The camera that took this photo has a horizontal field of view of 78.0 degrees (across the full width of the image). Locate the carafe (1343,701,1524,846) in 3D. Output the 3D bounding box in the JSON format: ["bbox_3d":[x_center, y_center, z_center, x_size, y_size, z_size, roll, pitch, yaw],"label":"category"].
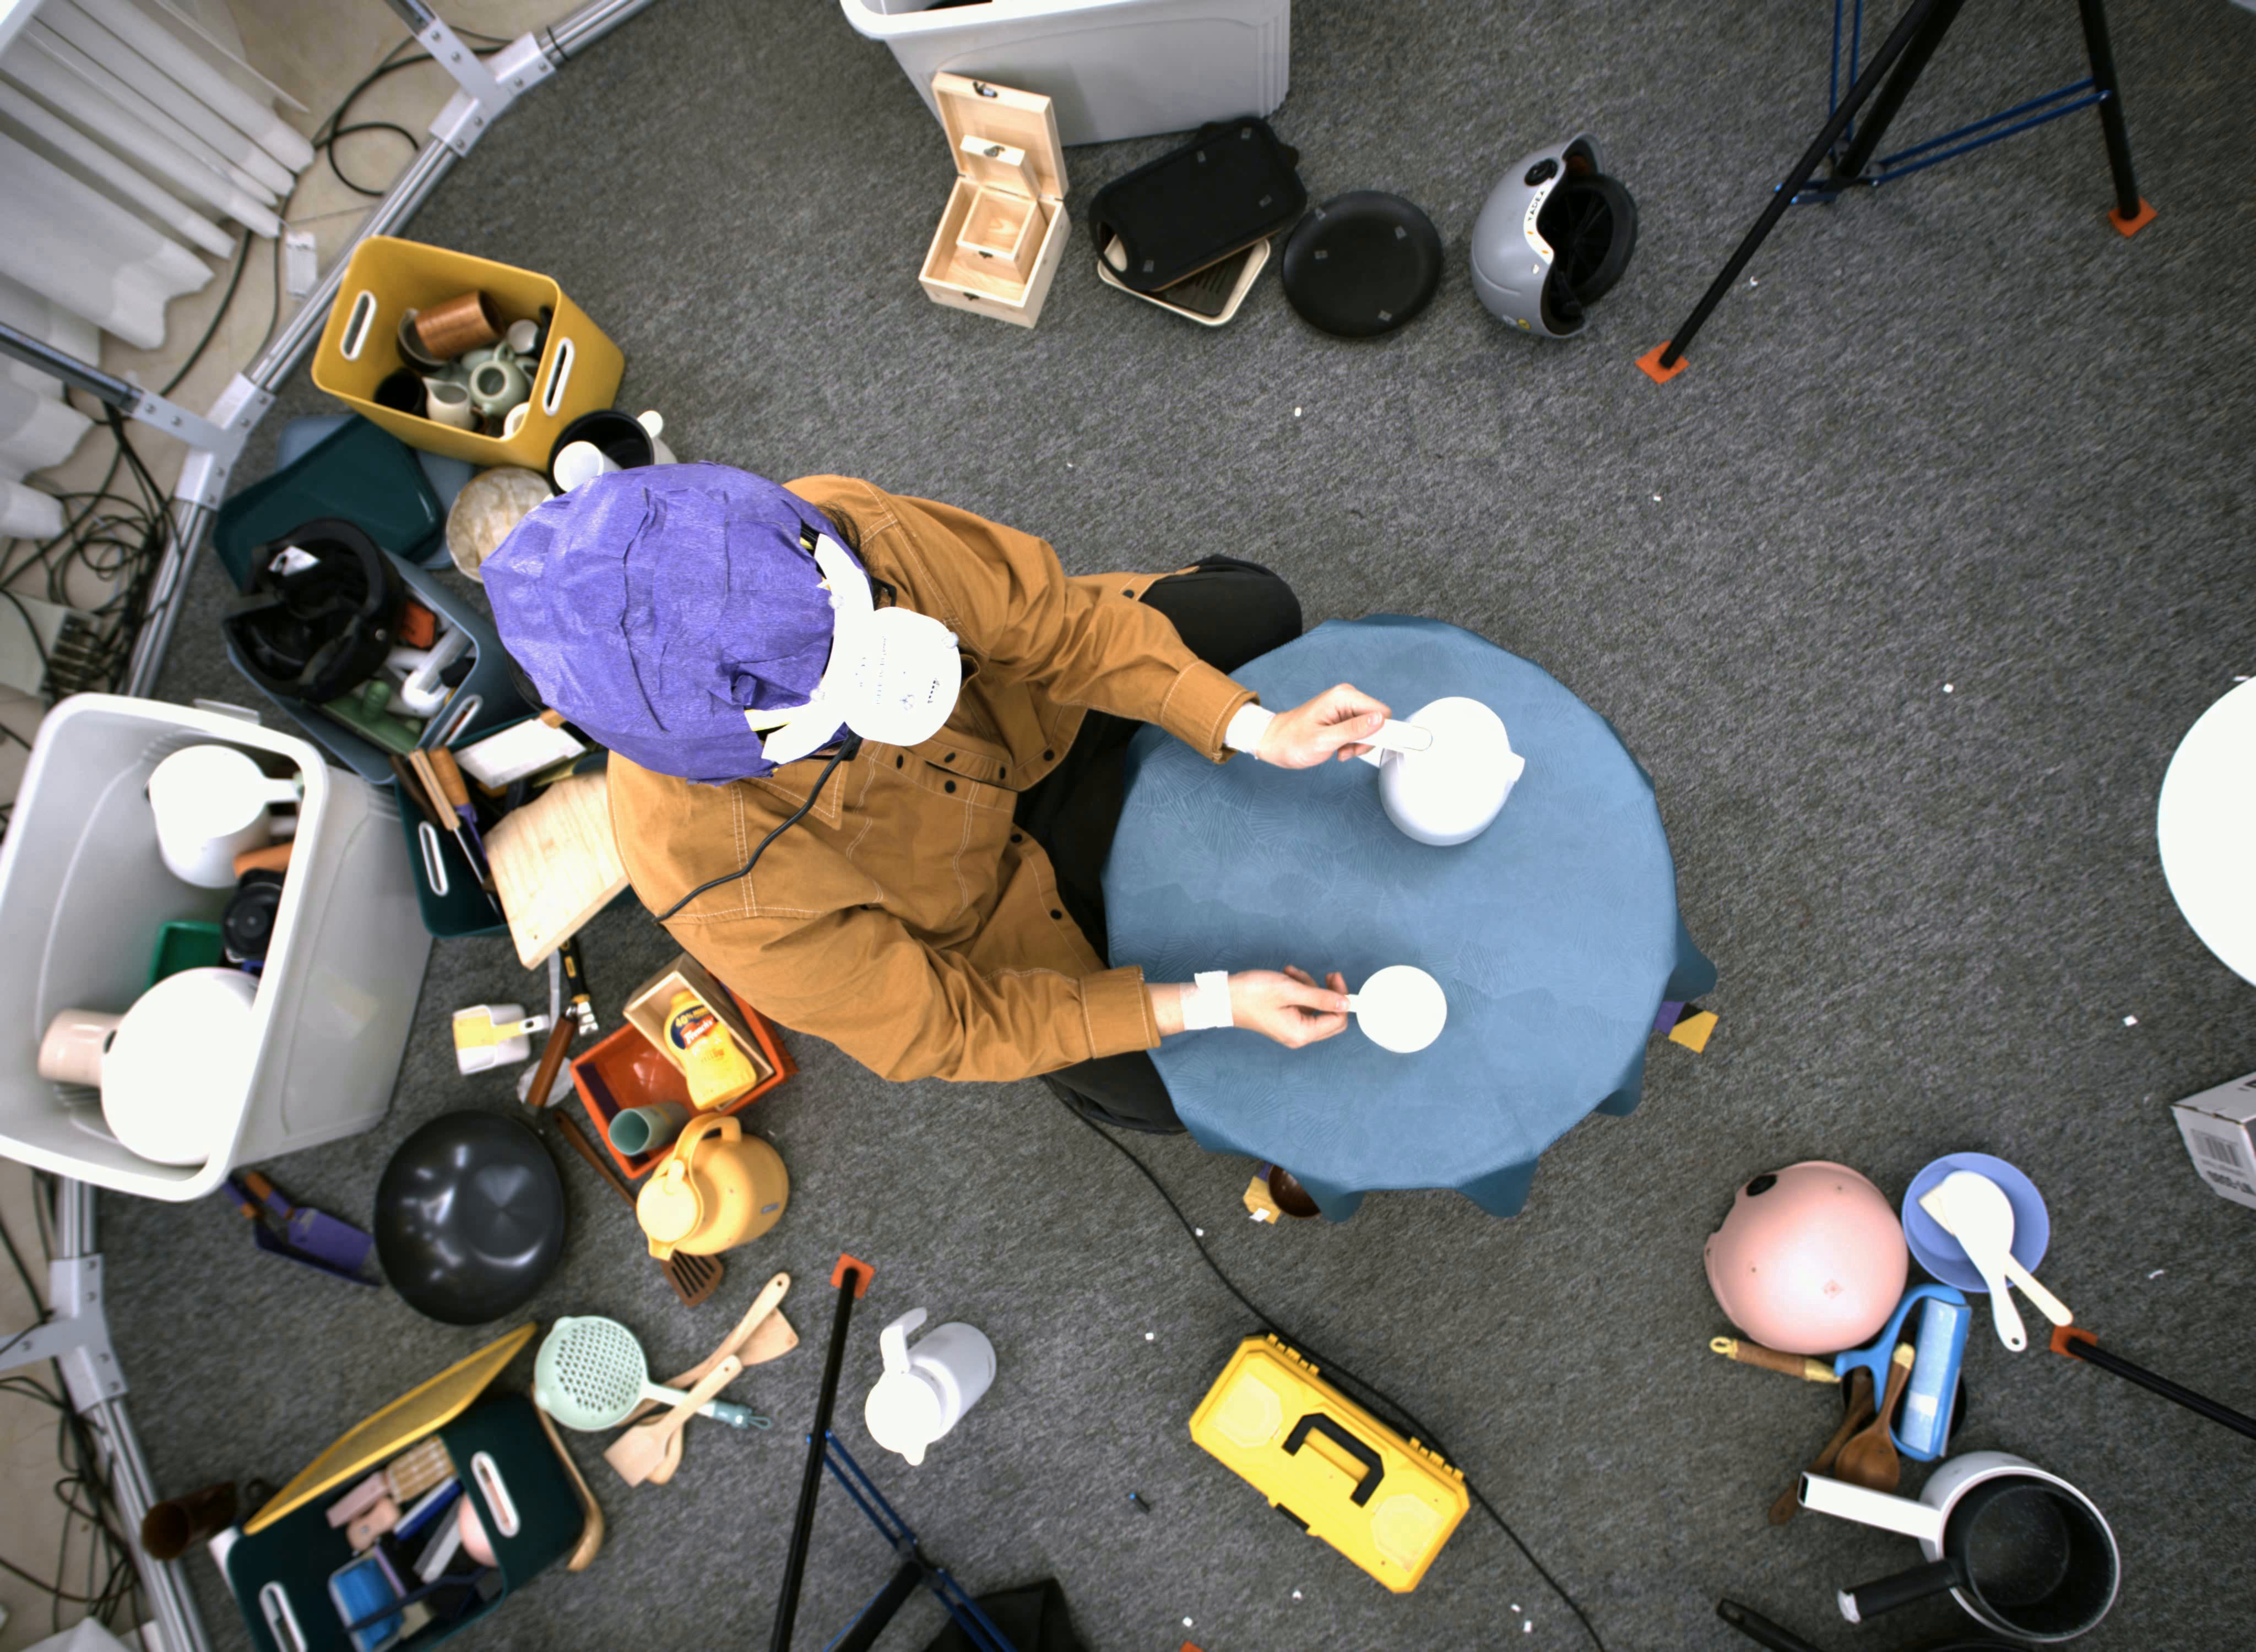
[{"bbox_3d":[0.292,-0.062,1.337,0.168,0.248,0.132,16,89,12],"label":"carafe"}]

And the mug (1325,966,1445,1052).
[{"bbox_3d":[0.261,0.182,1.406,0.118,0.102,0.084,4,85,11],"label":"mug"}]
